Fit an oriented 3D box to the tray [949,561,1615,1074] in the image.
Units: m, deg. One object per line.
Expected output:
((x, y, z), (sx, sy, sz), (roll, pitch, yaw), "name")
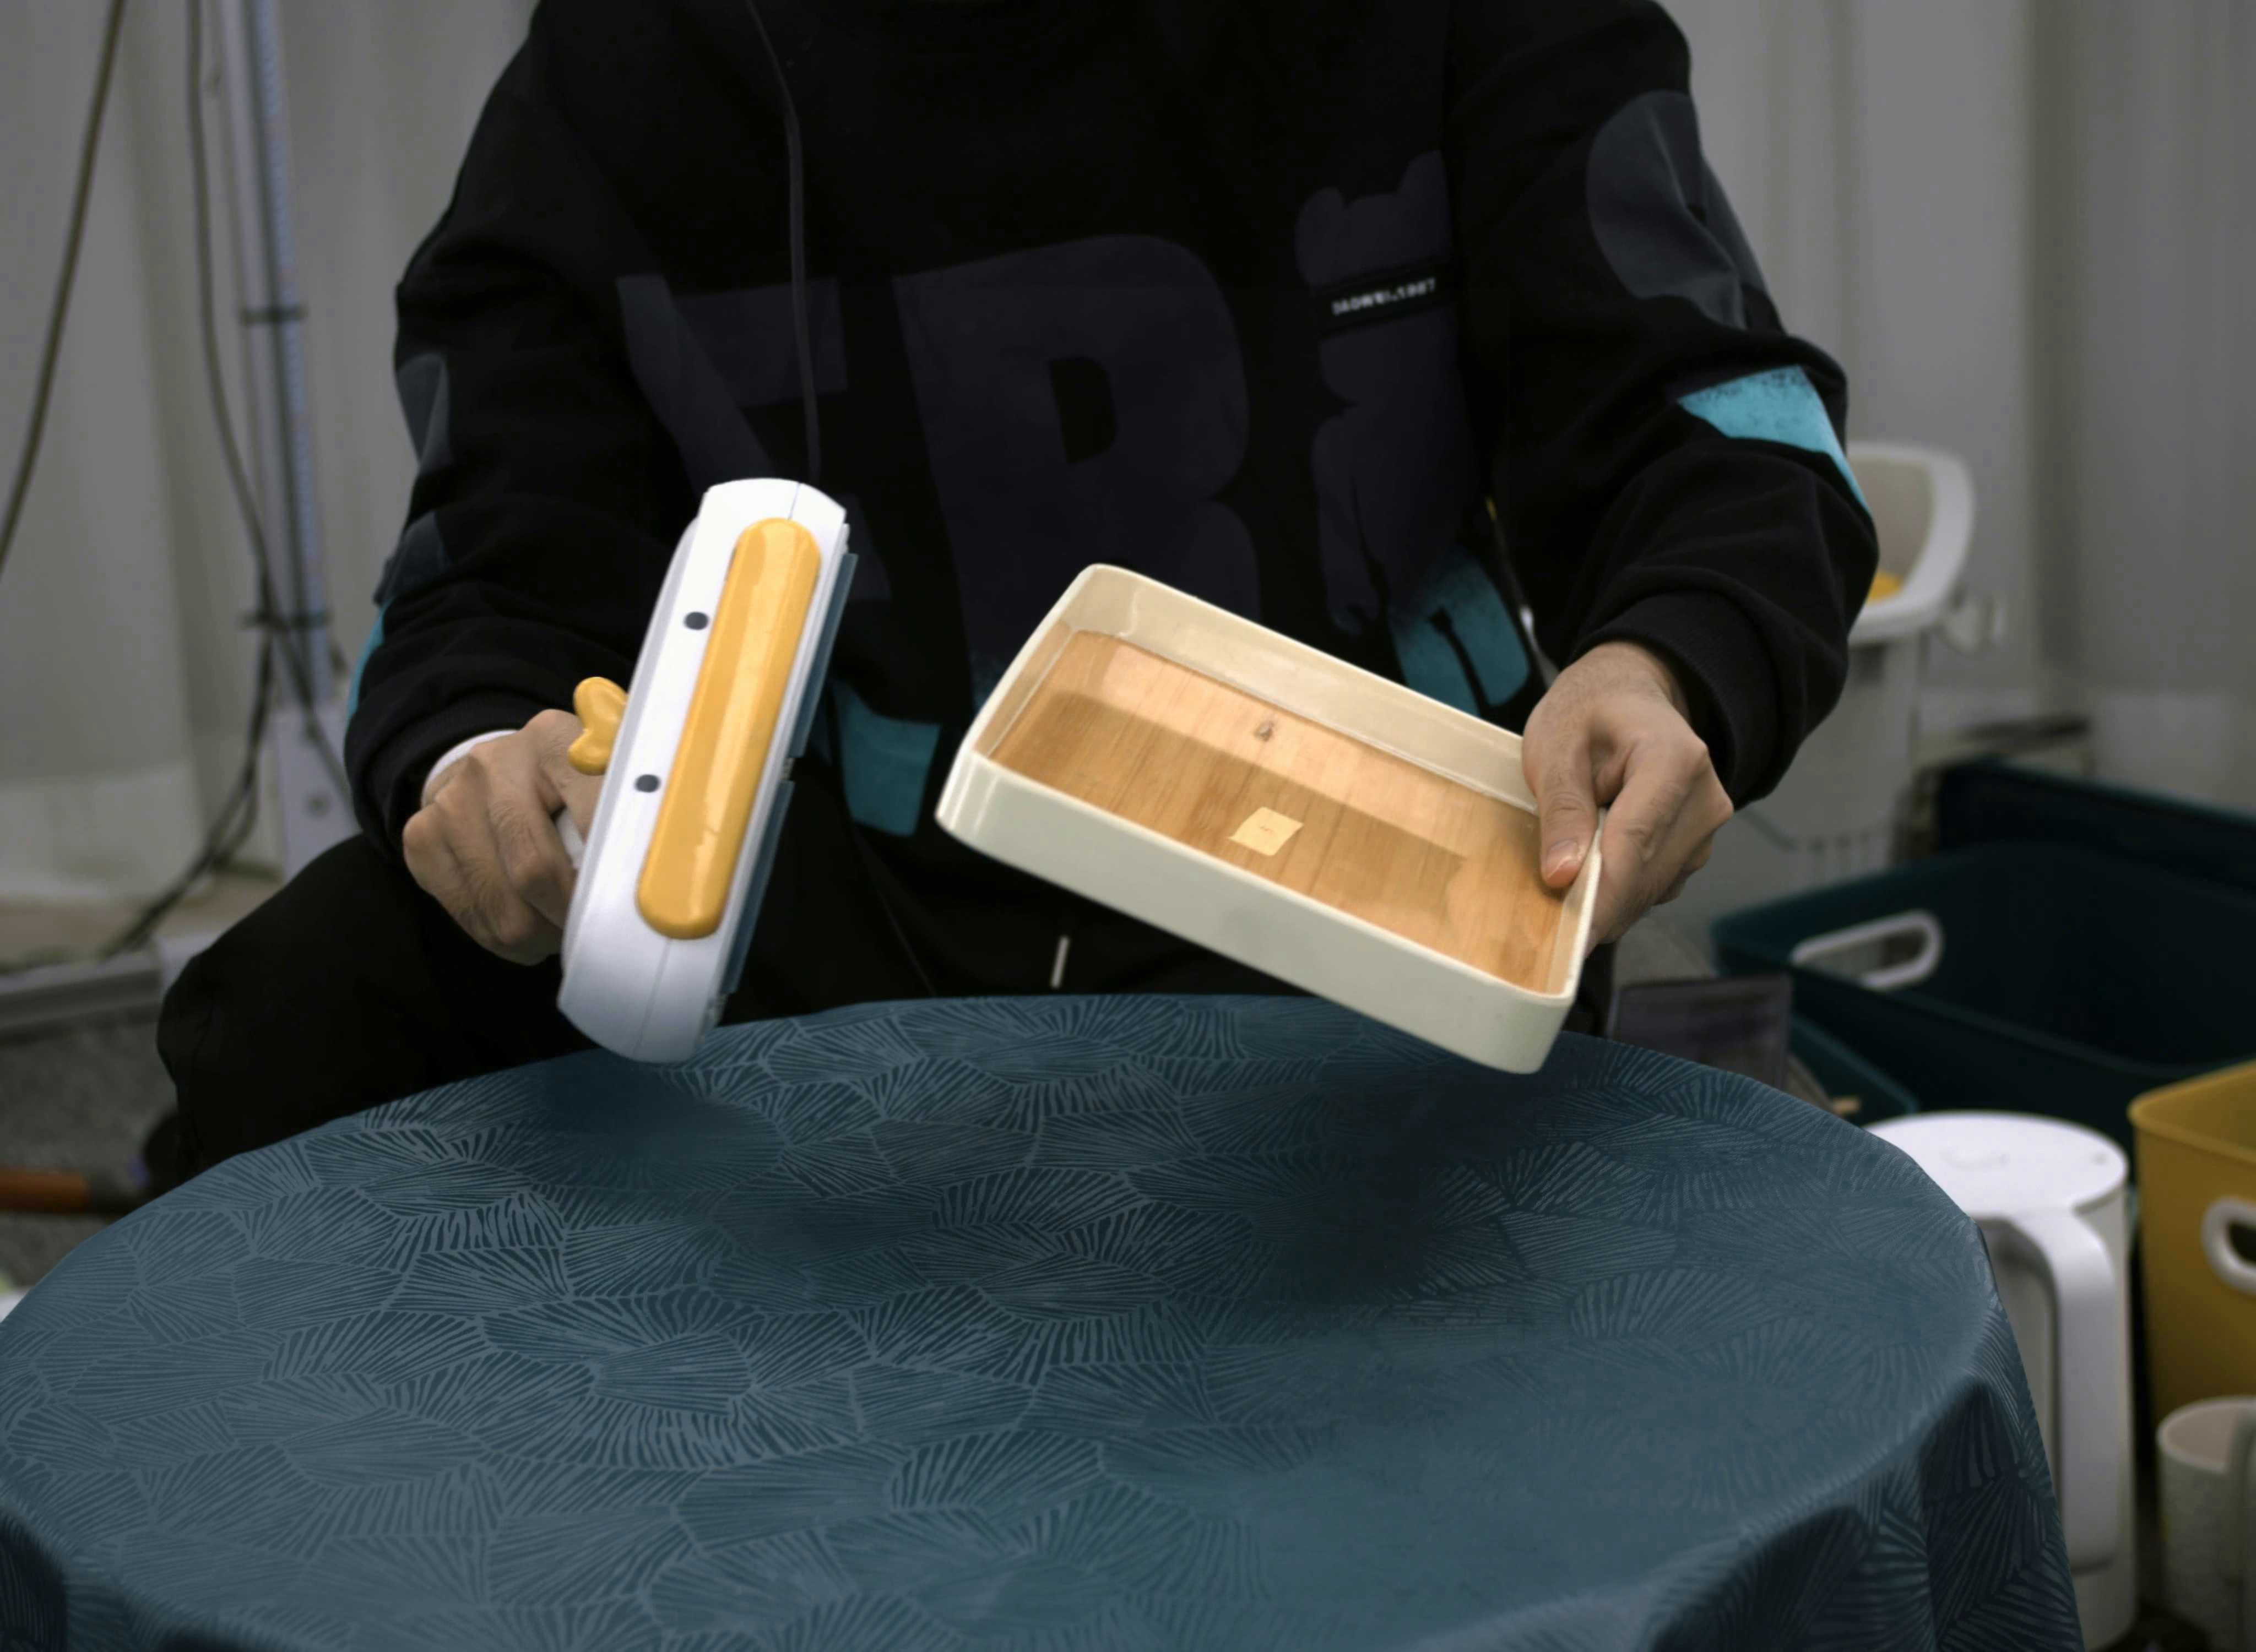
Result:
((0.054, -0.008, 1.683), (0.191, 0.027, 0.301), (24, 15, 2), "tray")

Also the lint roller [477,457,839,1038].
((-0.157, -0.004, 1.743), (0.074, 0.195, 0.191), (16, -29, -13), "lint roller")
